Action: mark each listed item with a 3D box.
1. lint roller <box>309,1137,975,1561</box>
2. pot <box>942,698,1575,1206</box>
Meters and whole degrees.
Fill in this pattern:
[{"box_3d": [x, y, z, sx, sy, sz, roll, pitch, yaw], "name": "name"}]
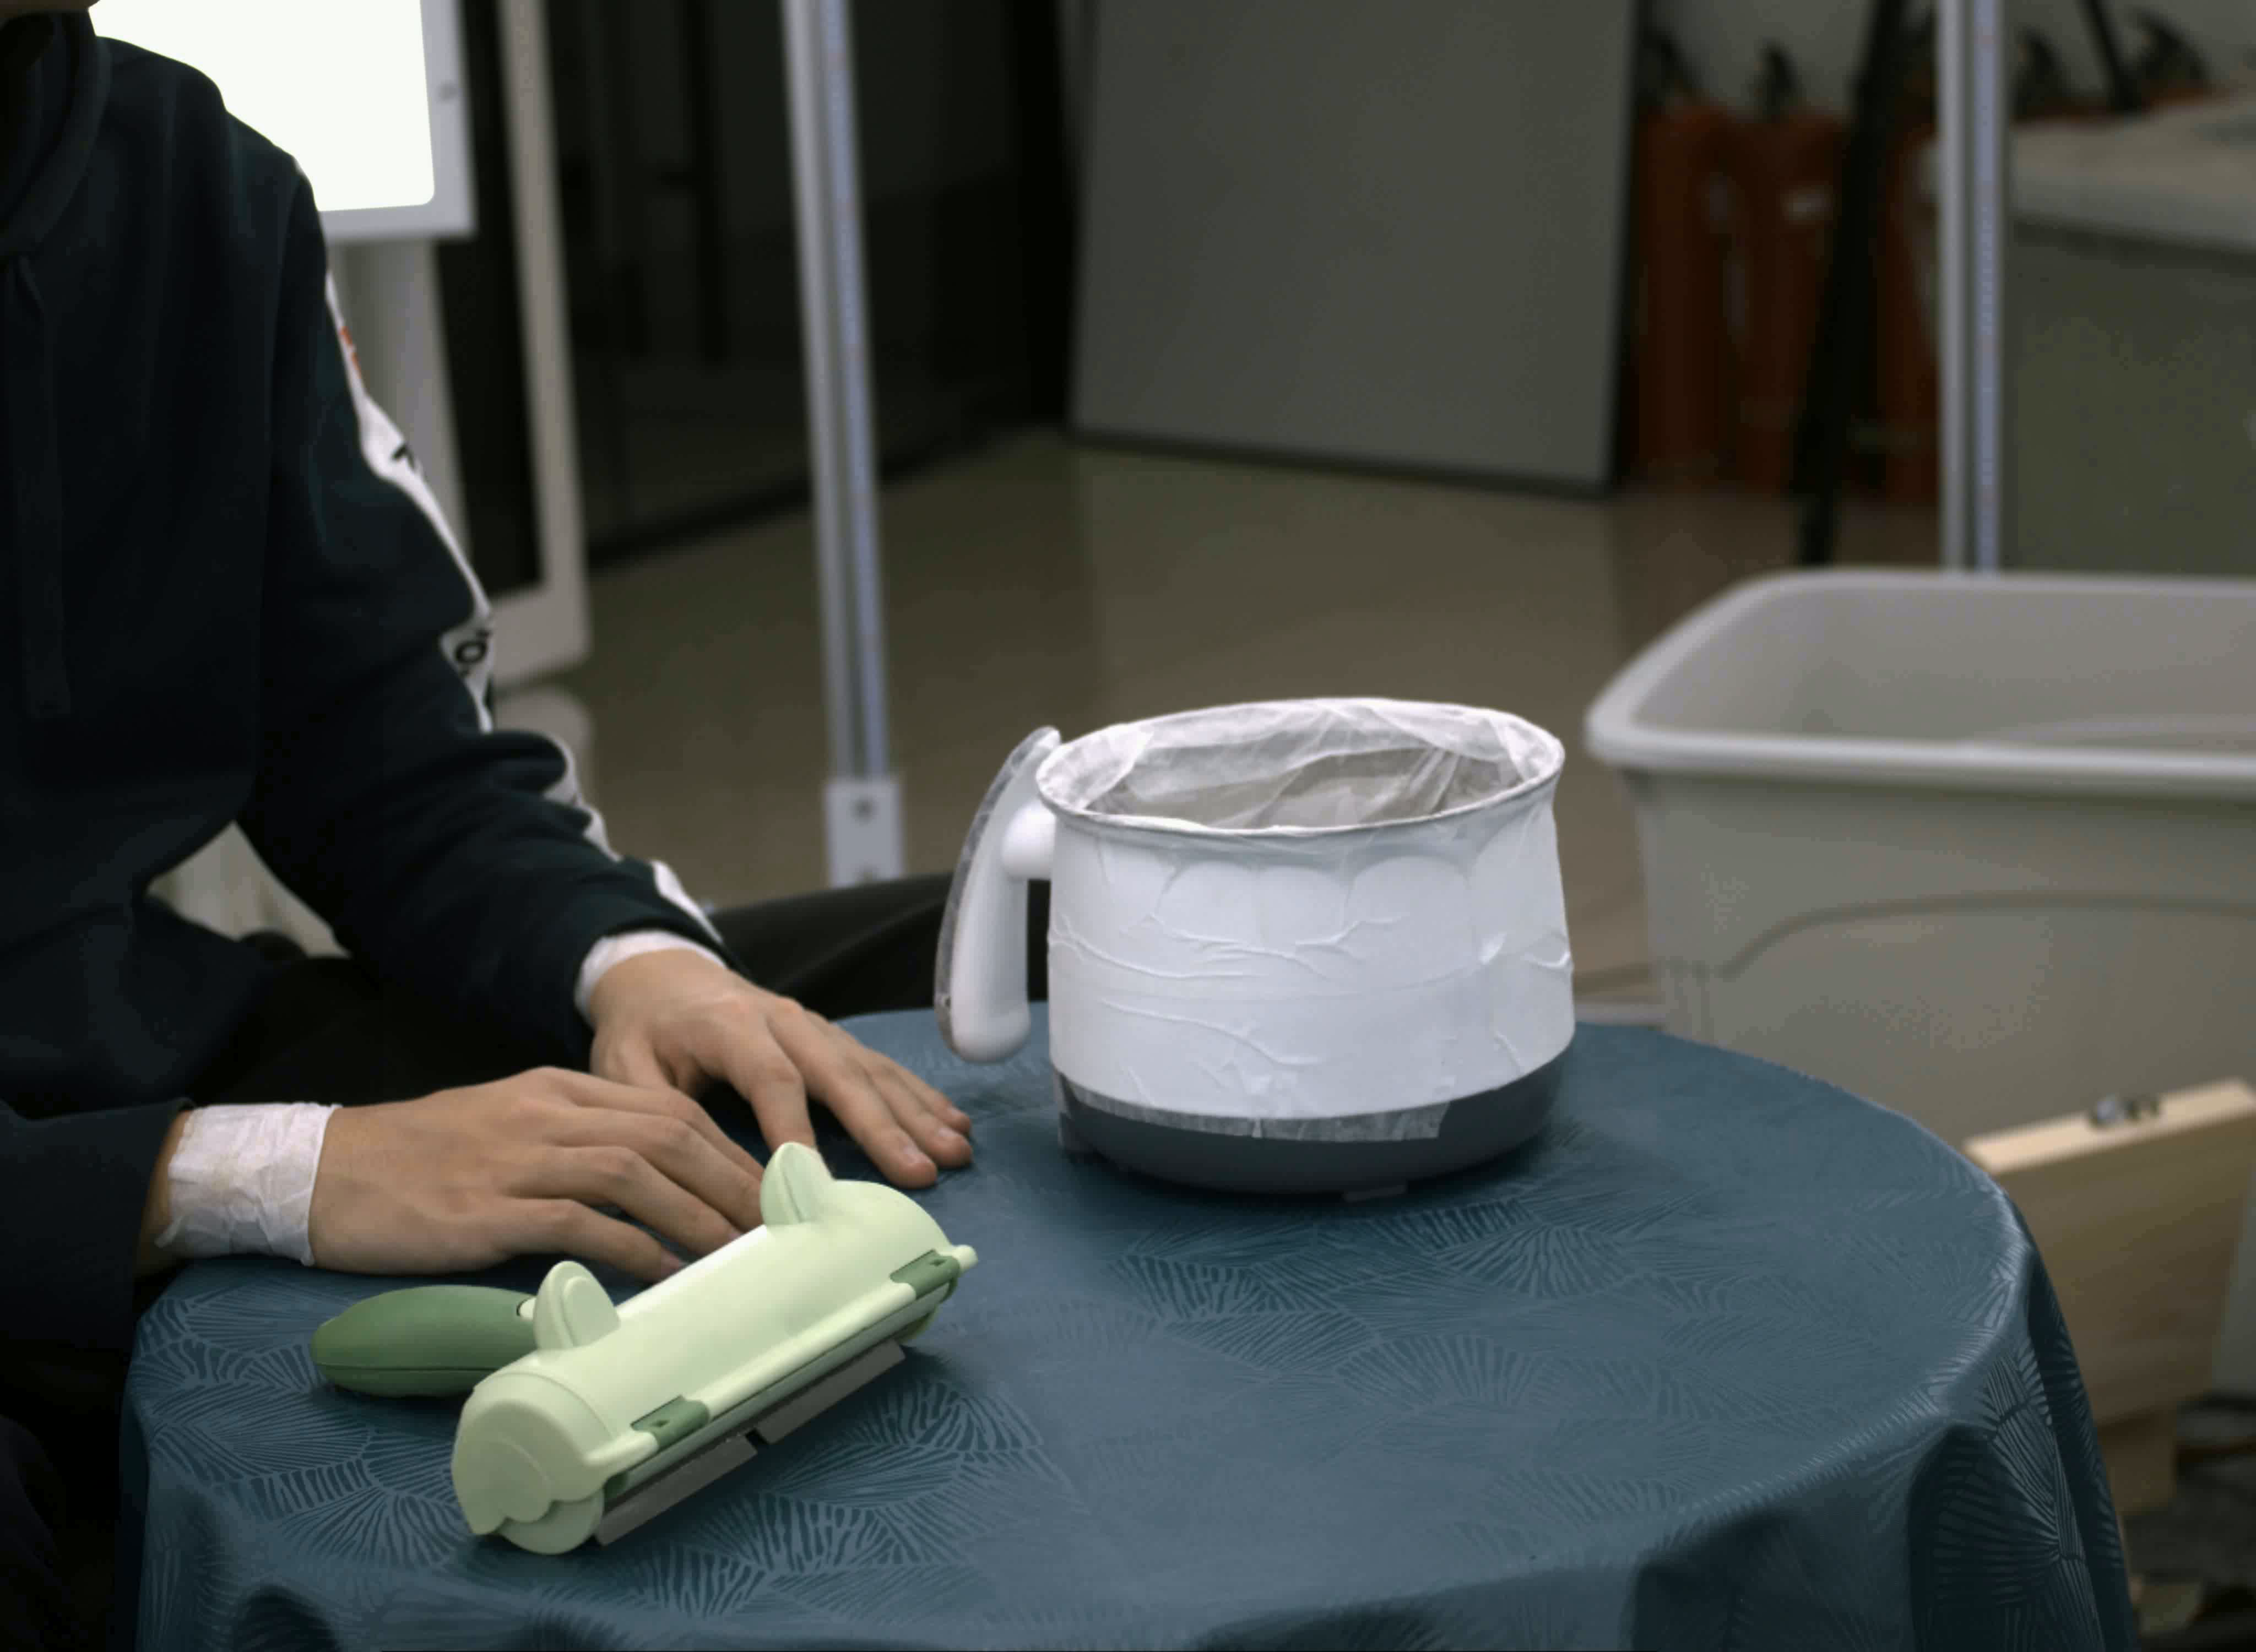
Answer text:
[{"box_3d": [-0.168, 0.140, 1.588, 0.184, 0.083, 0.195, 10, 19, 30], "name": "lint roller"}, {"box_3d": [0.037, 0.038, 1.809, 0.235, 0.138, 0.176, 5, 16, 31], "name": "pot"}]
